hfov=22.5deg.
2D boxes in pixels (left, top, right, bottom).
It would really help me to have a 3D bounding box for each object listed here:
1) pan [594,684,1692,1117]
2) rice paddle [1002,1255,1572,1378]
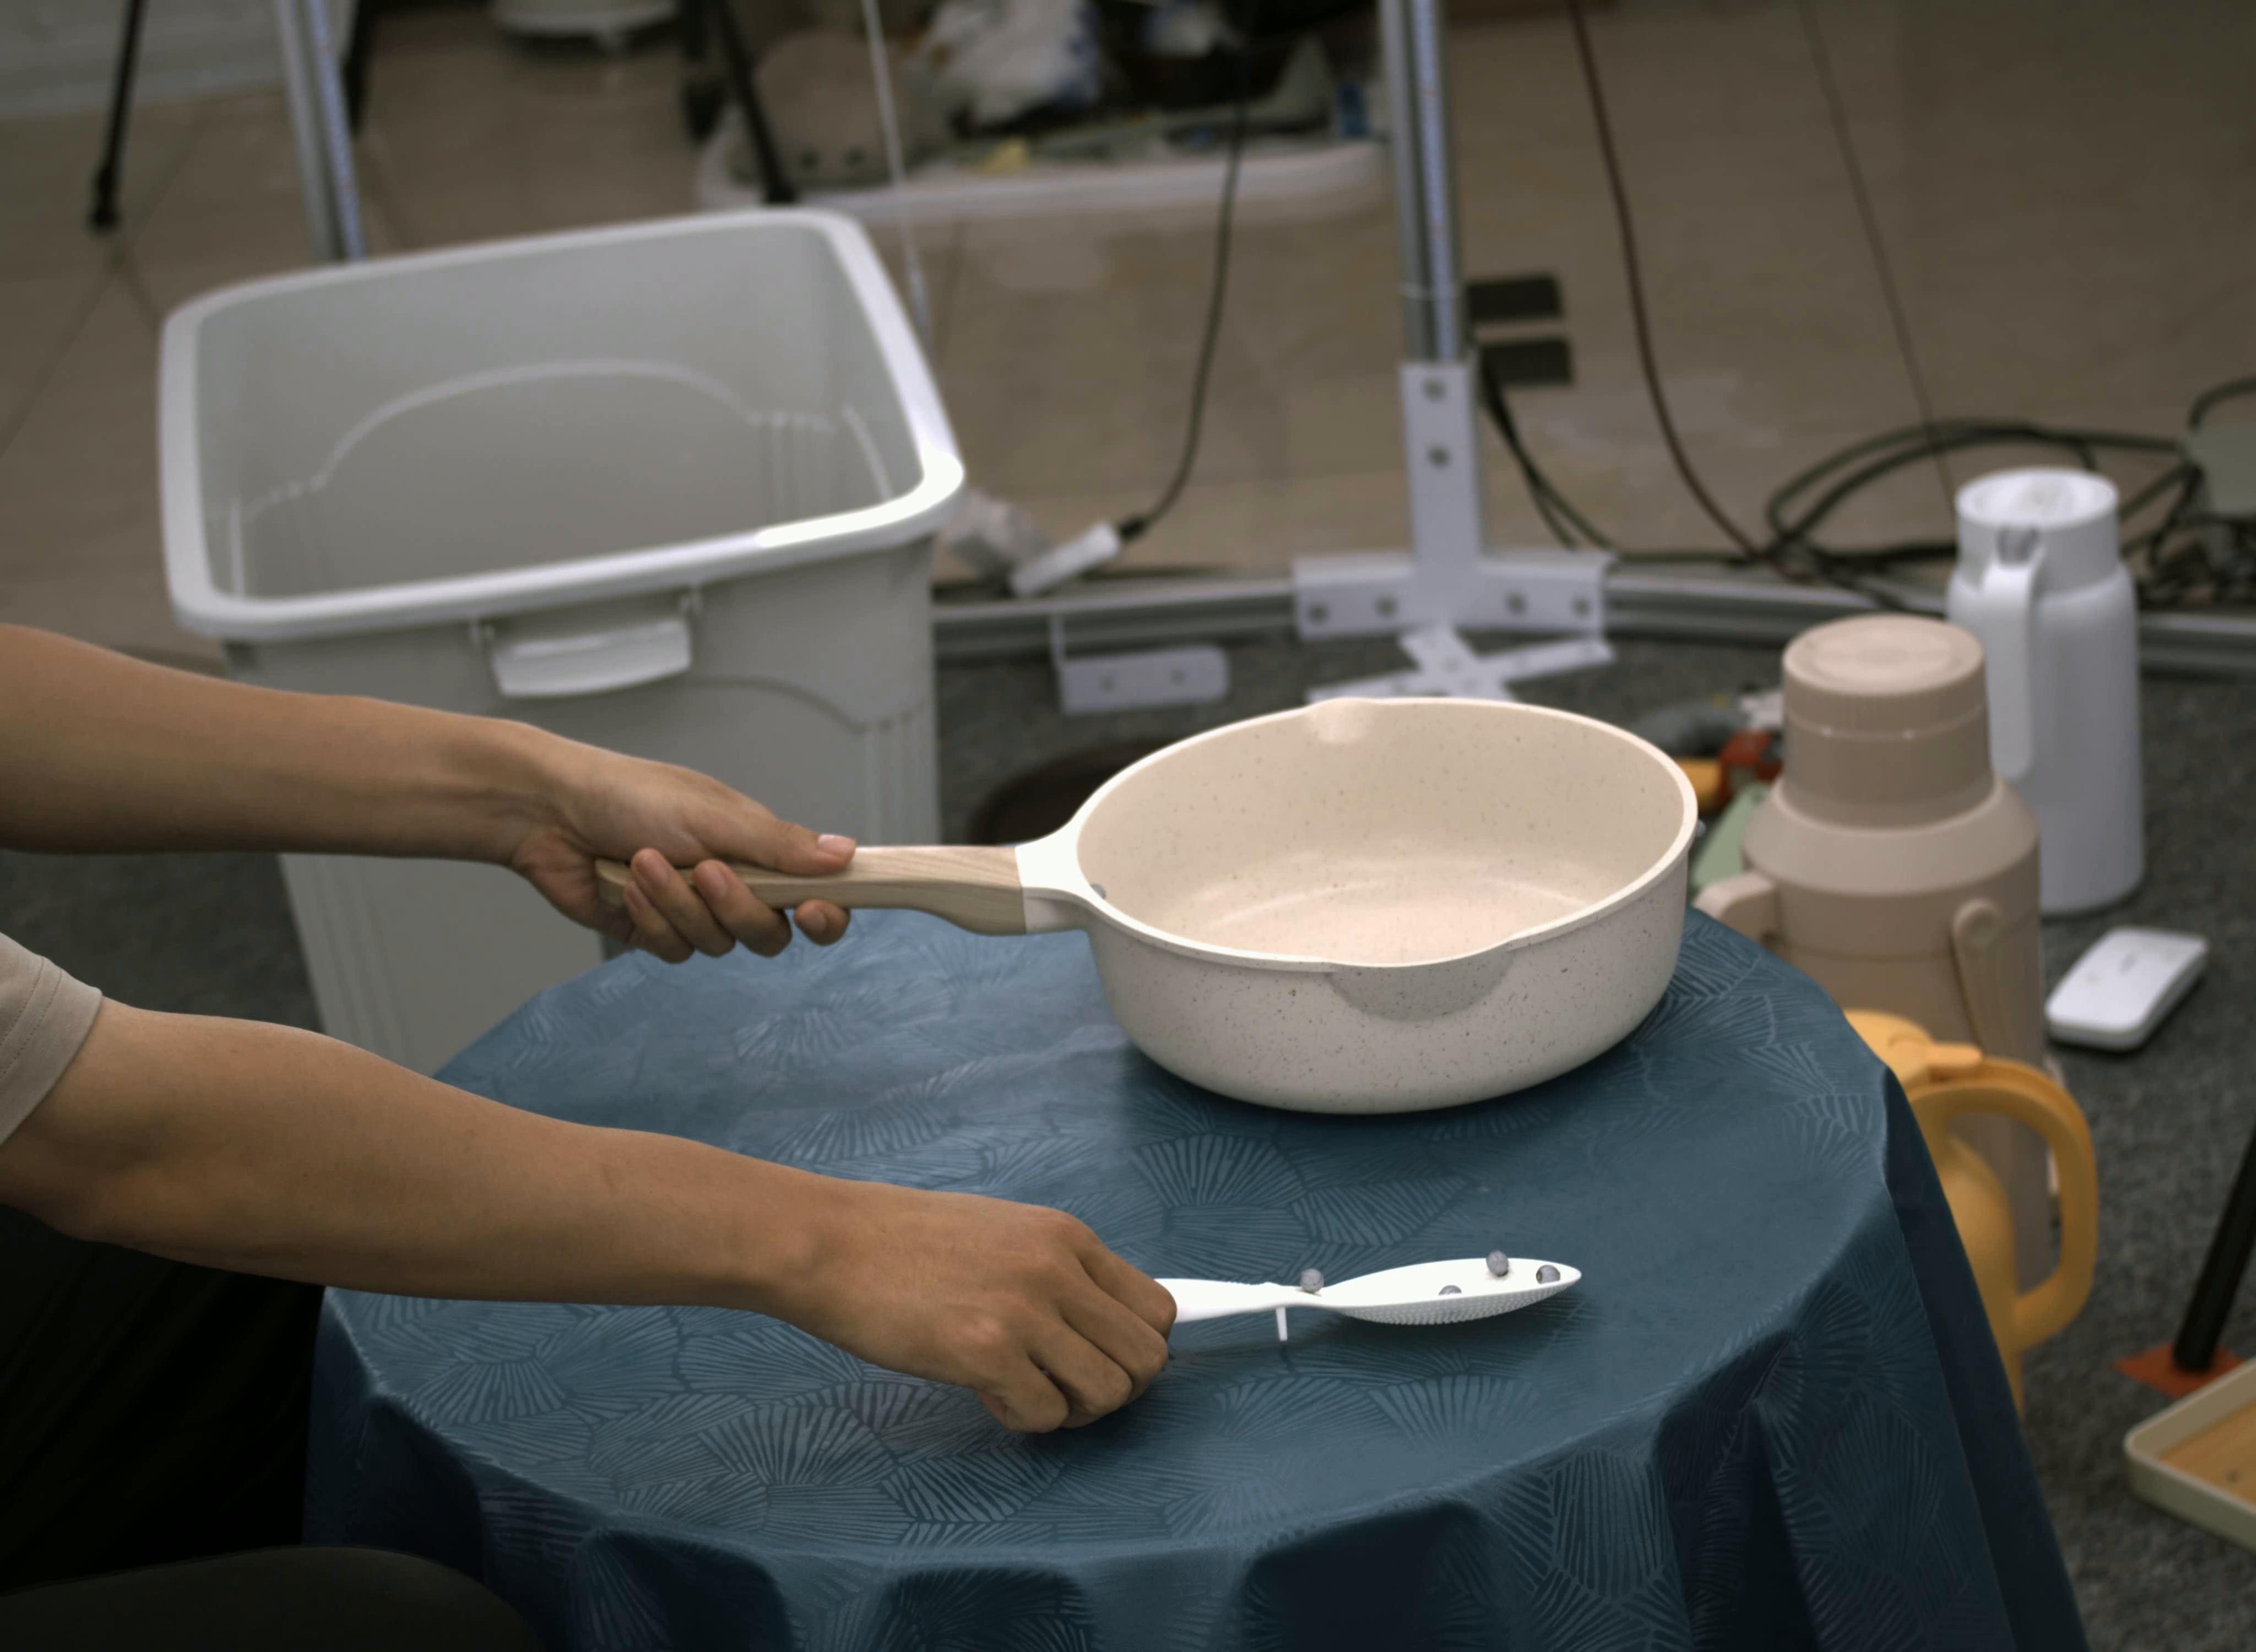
[{"bbox_3d":[0.010,0.039,2.254,0.434,0.104,0.259,-8,27,-2],"label":"pan"},{"bbox_3d":[0.058,0.169,2.031,0.205,0.029,0.068,-7,9,-5],"label":"rice paddle"}]
